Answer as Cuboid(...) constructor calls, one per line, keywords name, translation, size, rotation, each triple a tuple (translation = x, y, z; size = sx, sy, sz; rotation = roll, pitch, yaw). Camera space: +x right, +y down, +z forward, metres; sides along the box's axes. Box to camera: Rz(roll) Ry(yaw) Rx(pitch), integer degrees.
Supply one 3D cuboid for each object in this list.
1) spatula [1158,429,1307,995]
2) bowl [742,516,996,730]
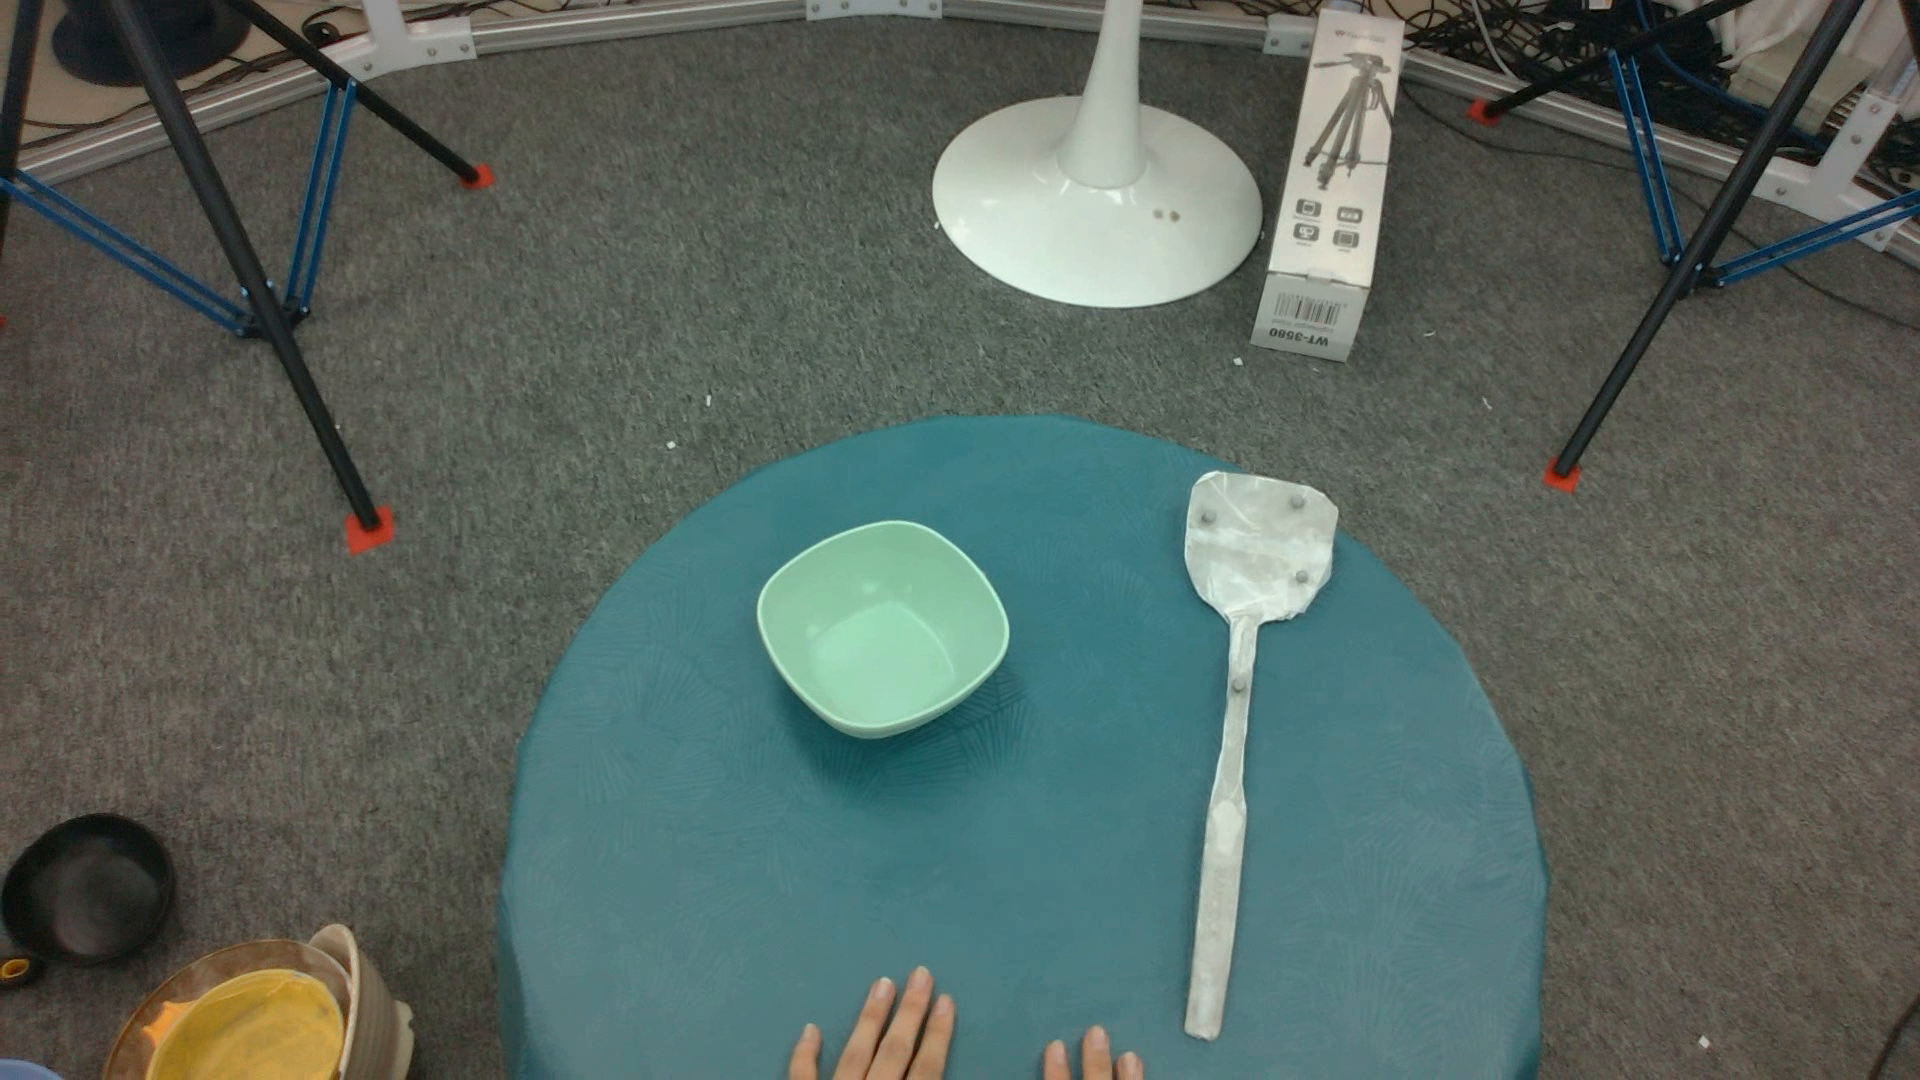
Cuboid(name="spatula", translation=(0.172, 0.087, 0.839), size=(0.098, 0.044, 0.366), rotation=(-3, 54, 12))
Cuboid(name="bowl", translation=(-0.055, 0.059, 0.833), size=(0.151, 0.058, 0.152), rotation=(2, 49, -2))
